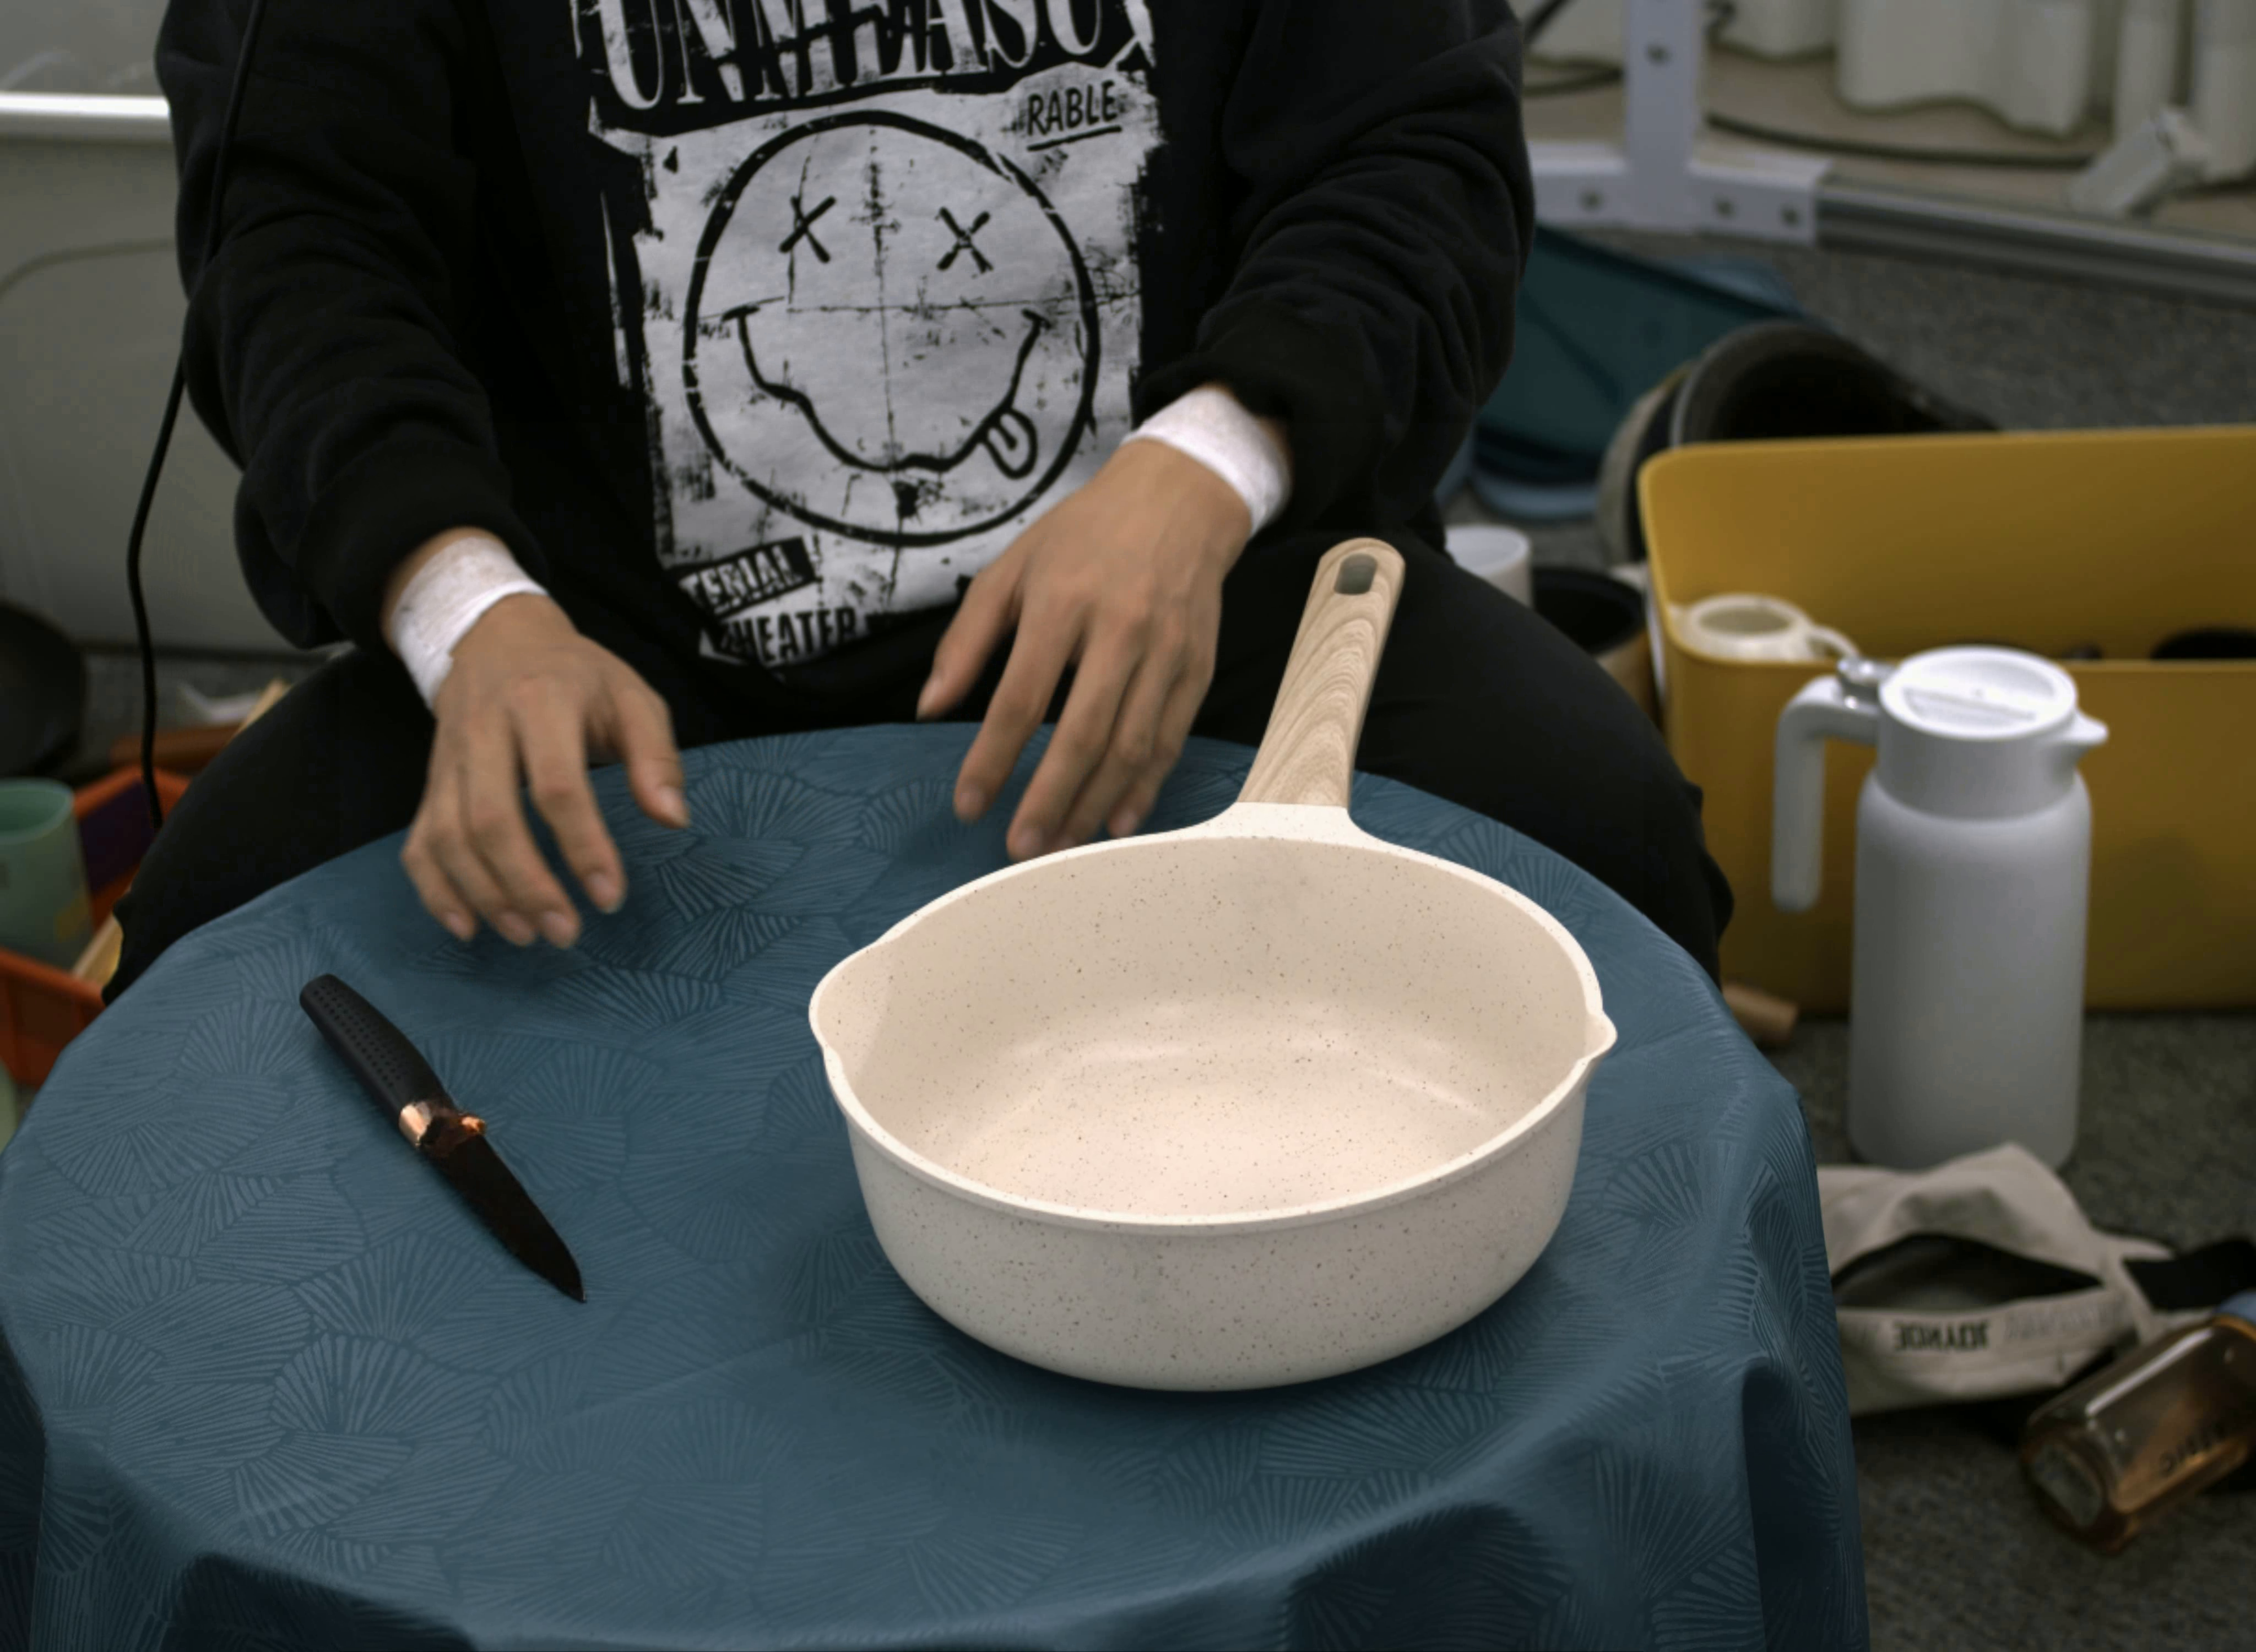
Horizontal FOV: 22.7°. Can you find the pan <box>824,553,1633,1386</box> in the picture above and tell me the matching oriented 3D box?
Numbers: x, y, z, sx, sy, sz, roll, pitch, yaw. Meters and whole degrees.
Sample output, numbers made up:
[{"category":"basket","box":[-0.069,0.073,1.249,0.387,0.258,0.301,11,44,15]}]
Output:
[{"category":"pan","box":[0.050,0.045,1.896,0.261,0.101,0.442,1,27,11]}]

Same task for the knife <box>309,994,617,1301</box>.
[{"category":"knife","box":[-0.227,0.109,1.897,0.026,0.017,0.226,0,23,-32]}]
